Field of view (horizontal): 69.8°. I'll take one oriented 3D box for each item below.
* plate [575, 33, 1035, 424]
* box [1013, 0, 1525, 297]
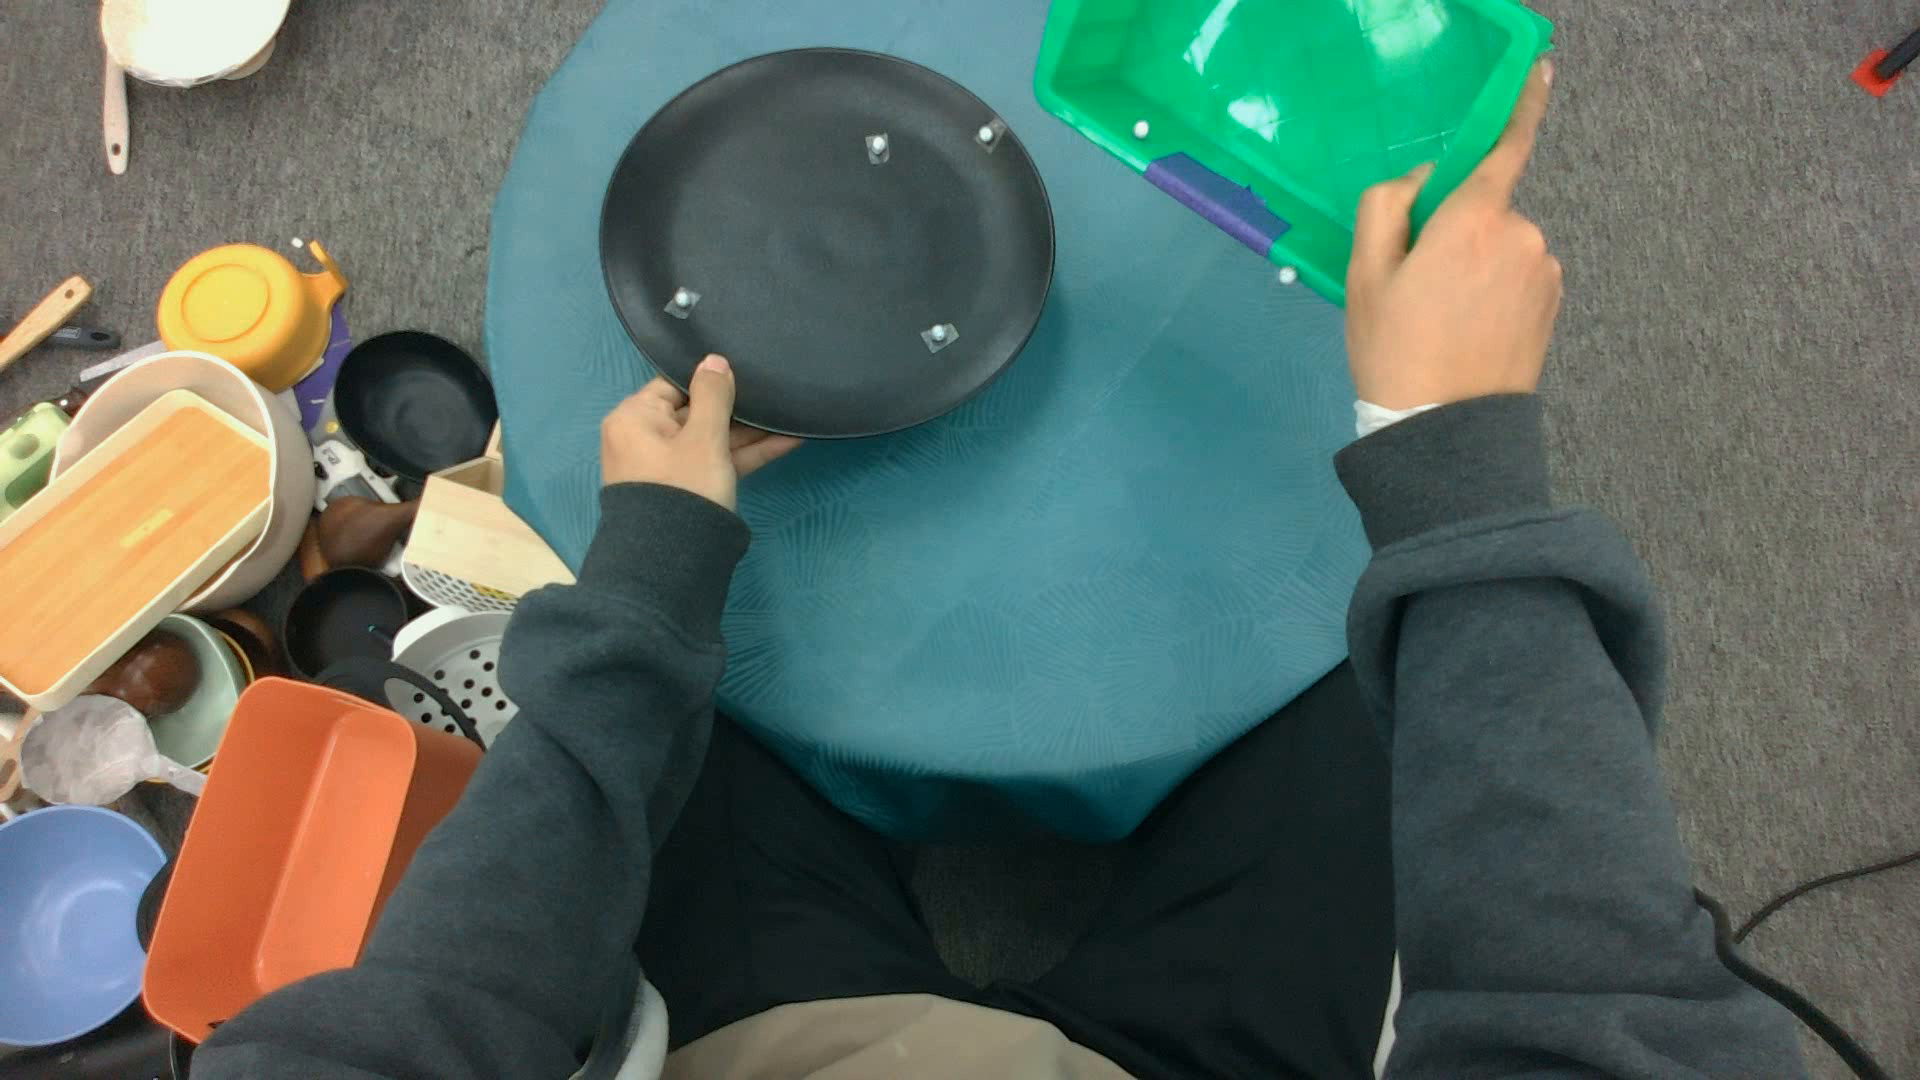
[{"bbox_3d":[-0.081,-0.169,0.744,0.244,0.023,0.245,2,69,-5],"label":"plate"},{"bbox_3d":[0.135,-0.220,0.615,0.210,0.138,0.065,36,42,18],"label":"box"}]
